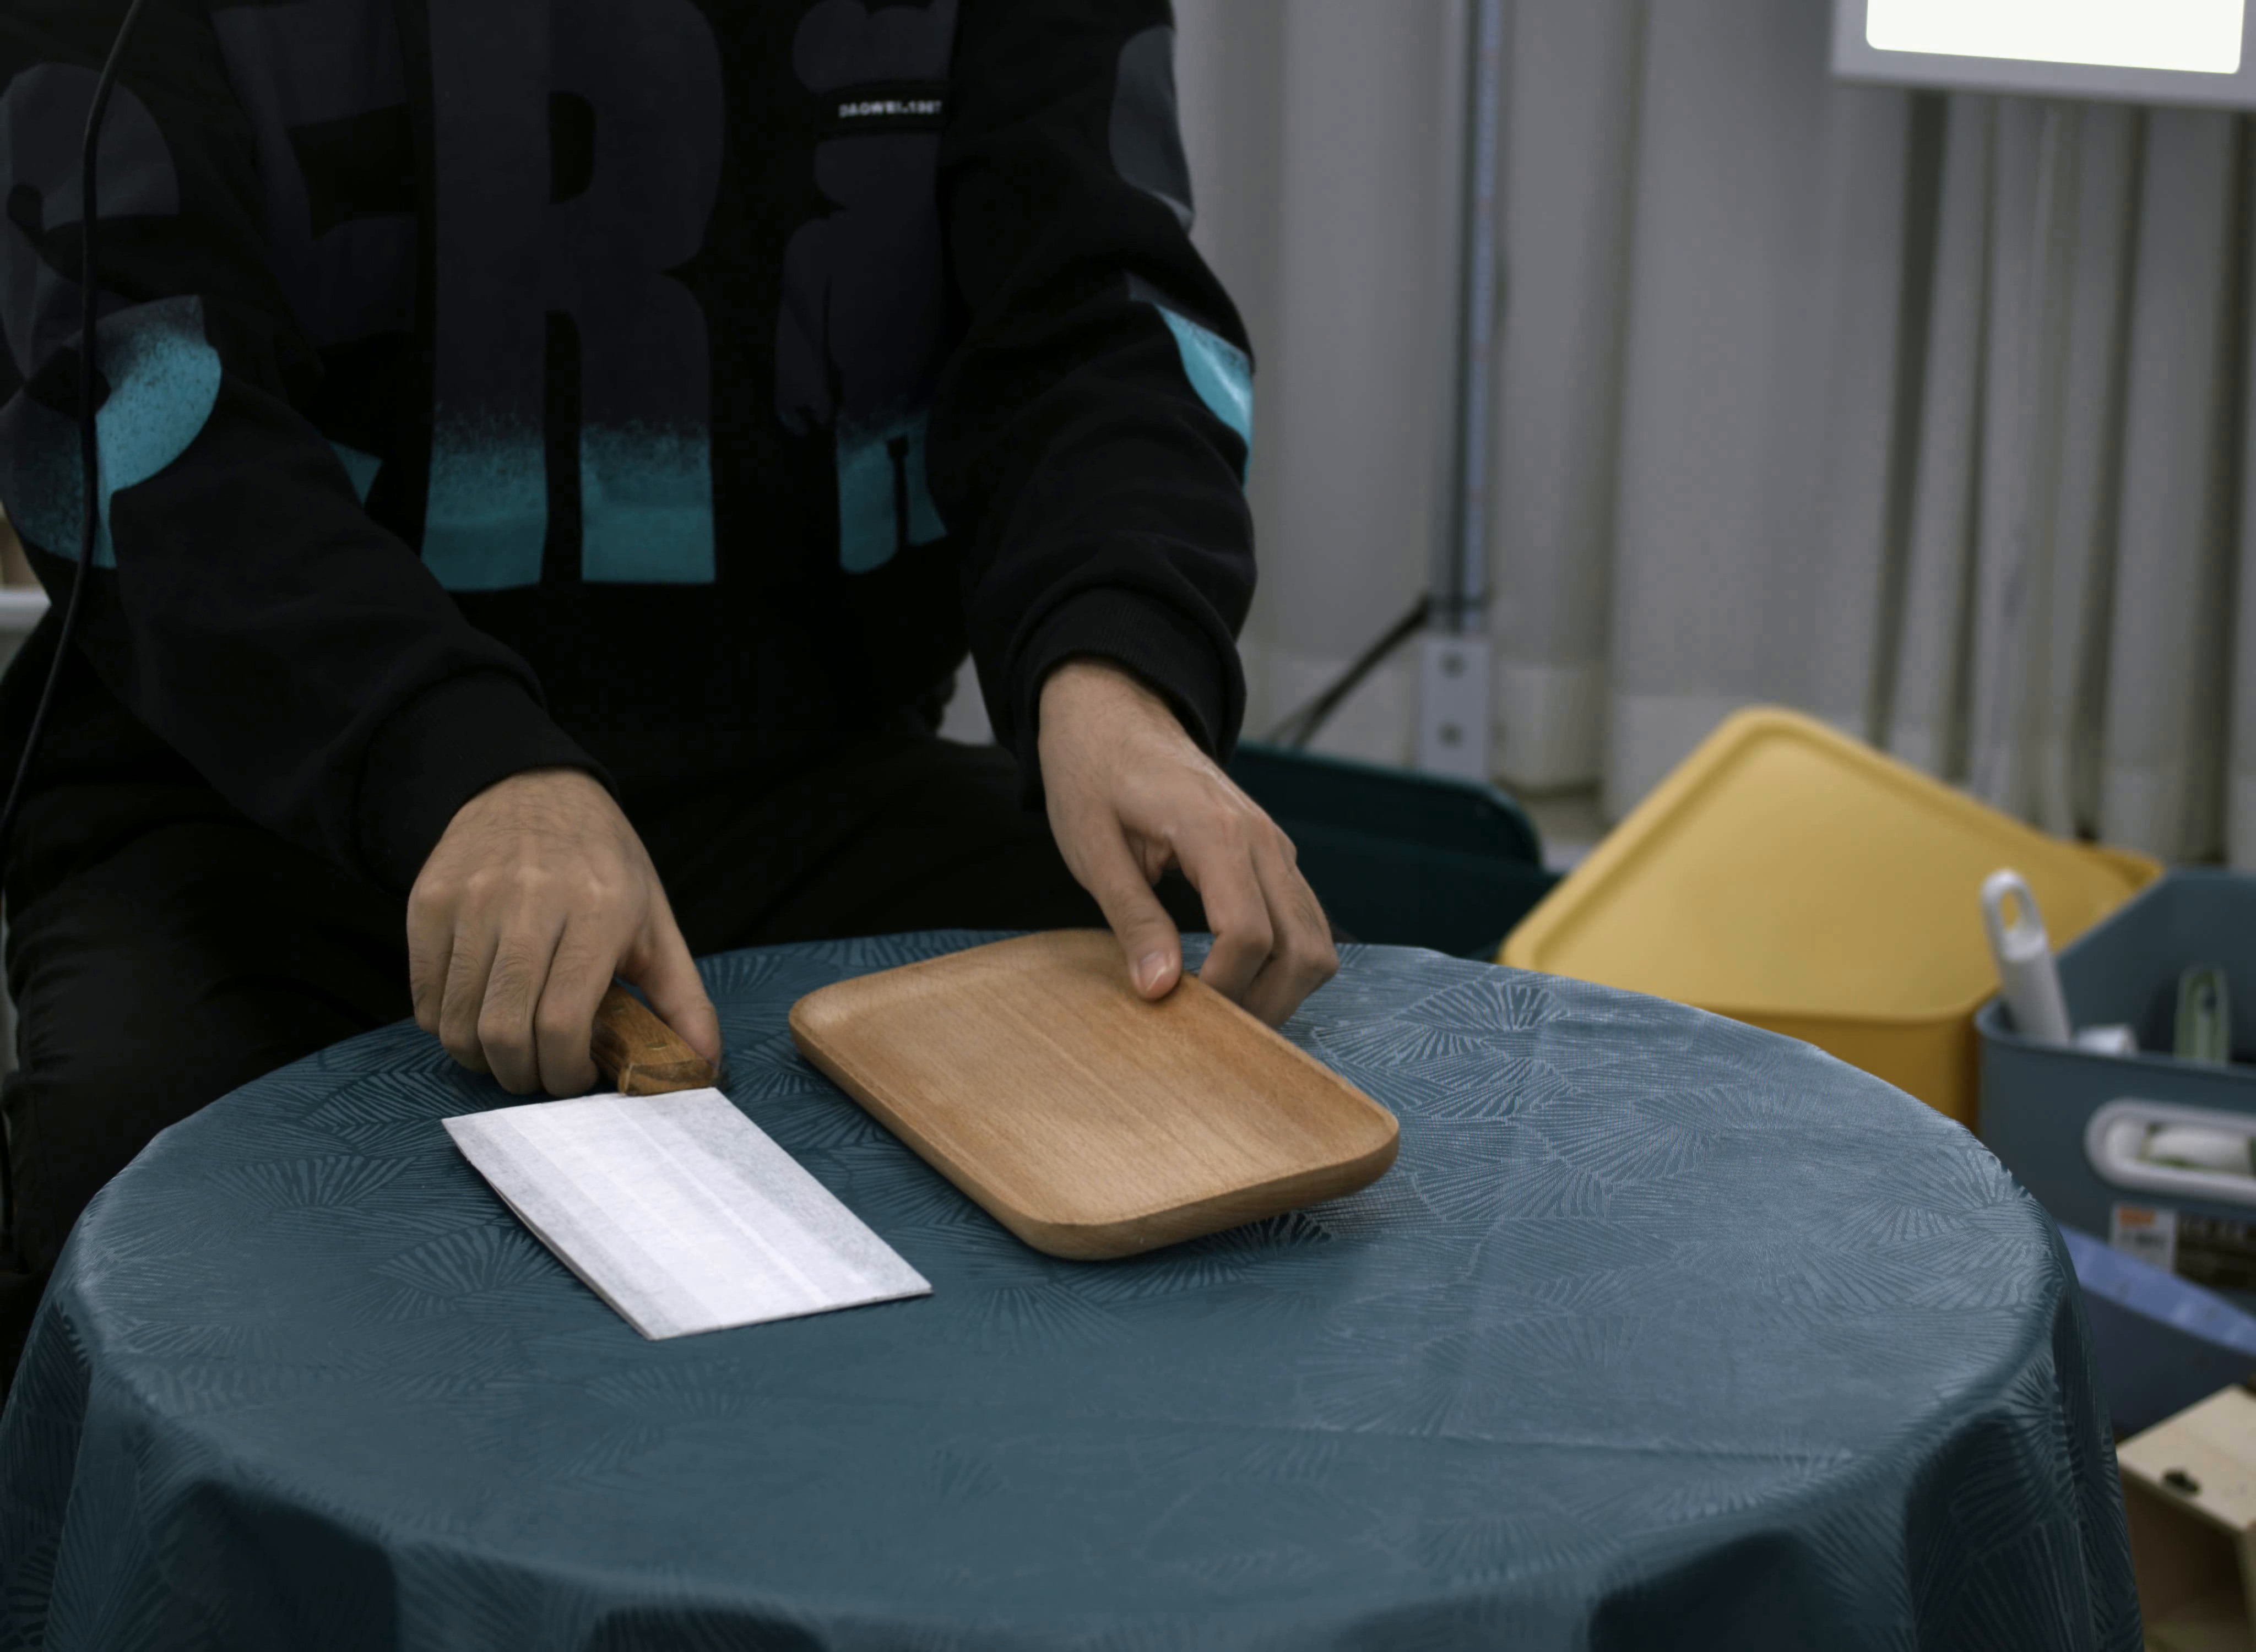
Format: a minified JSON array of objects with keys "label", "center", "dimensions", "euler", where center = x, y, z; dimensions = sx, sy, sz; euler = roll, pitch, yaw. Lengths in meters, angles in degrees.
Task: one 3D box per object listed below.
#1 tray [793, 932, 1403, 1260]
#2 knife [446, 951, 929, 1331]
[{"label":"tray","center":[-0.013,0.083,1.675],"dimensions":[0.131,0.023,0.248],"euler":[-10,18,-20]},{"label":"knife","center":[-0.159,0.097,1.643],"dimensions":[0.093,0.021,0.302],"euler":[-8,20,-24]}]
